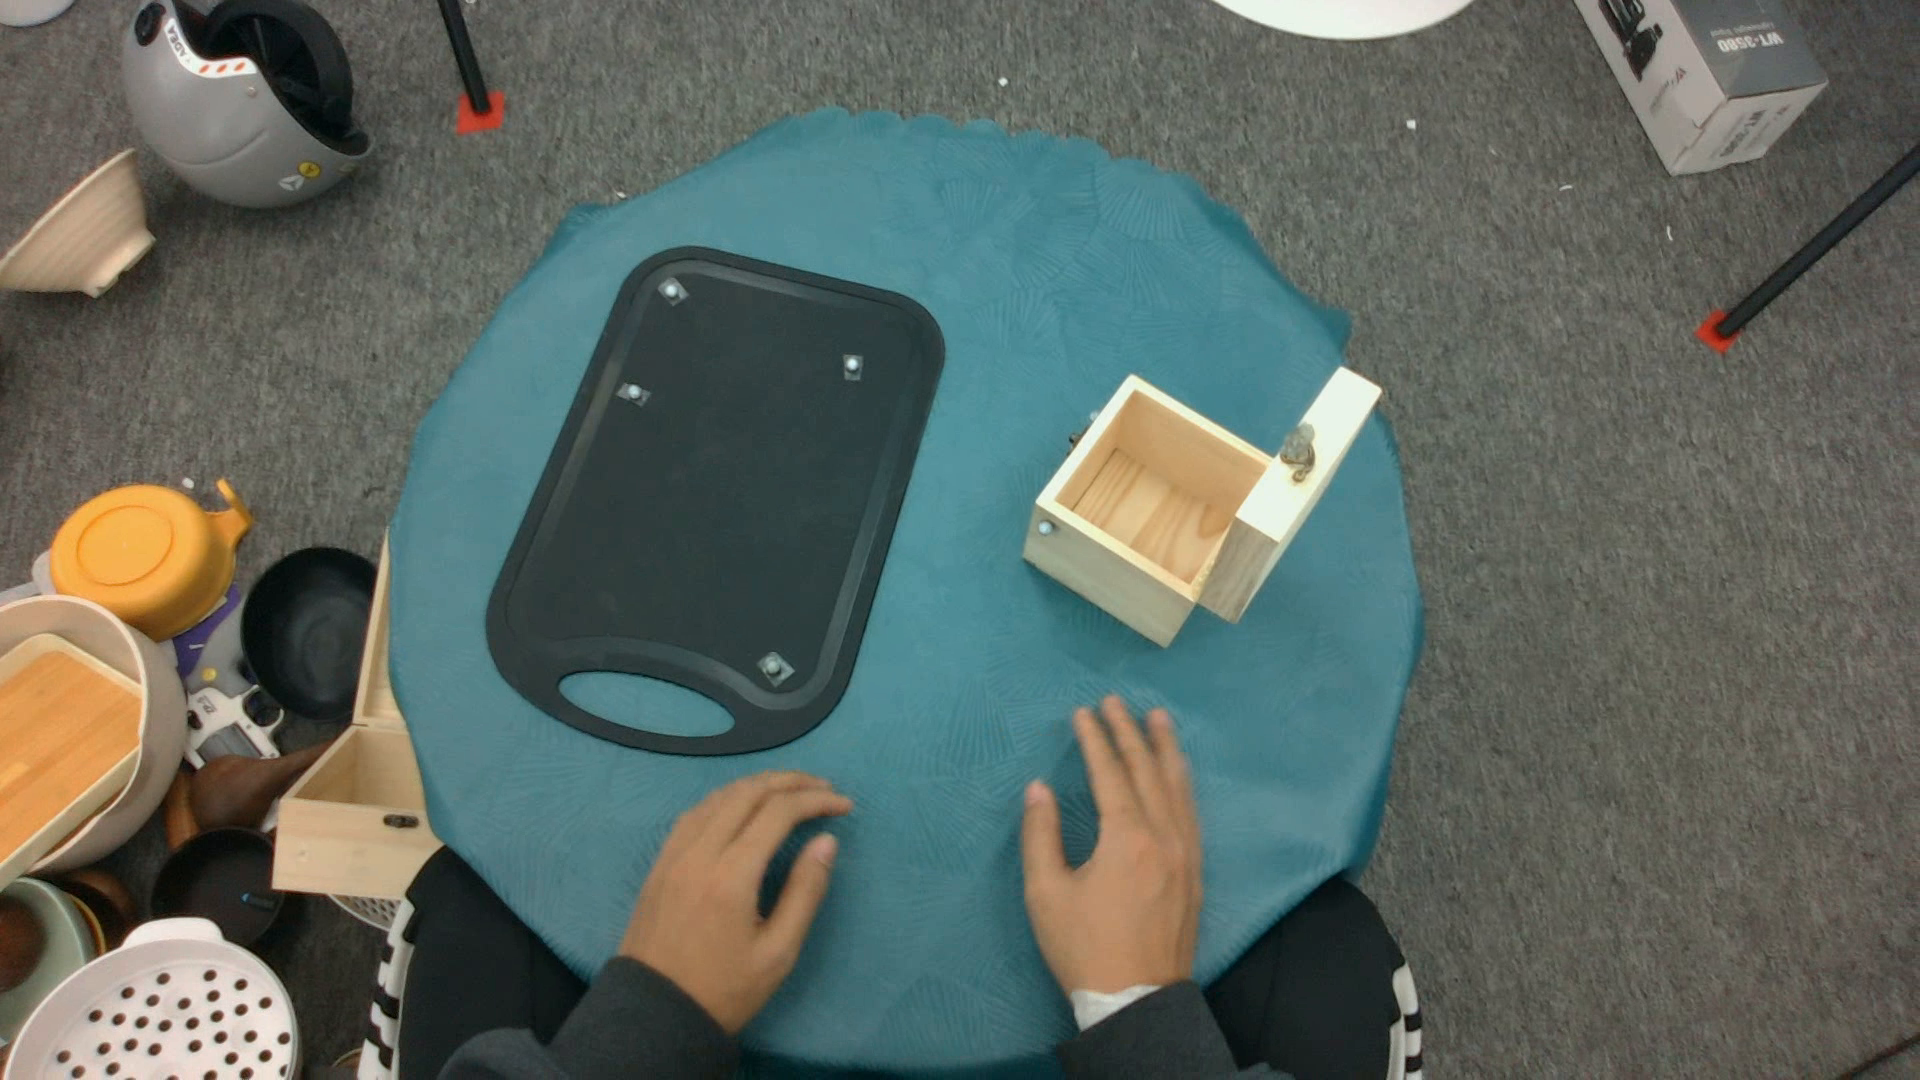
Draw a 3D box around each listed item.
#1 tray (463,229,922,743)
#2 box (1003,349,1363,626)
[{"bbox_3d":[-0.152,-0.040,0.811,0.211,0.010,0.326,14,66,2],"label":"tray"},{"bbox_3d":[0.108,-0.043,0.734,0.134,0.184,0.103,32,68,8],"label":"box"}]
